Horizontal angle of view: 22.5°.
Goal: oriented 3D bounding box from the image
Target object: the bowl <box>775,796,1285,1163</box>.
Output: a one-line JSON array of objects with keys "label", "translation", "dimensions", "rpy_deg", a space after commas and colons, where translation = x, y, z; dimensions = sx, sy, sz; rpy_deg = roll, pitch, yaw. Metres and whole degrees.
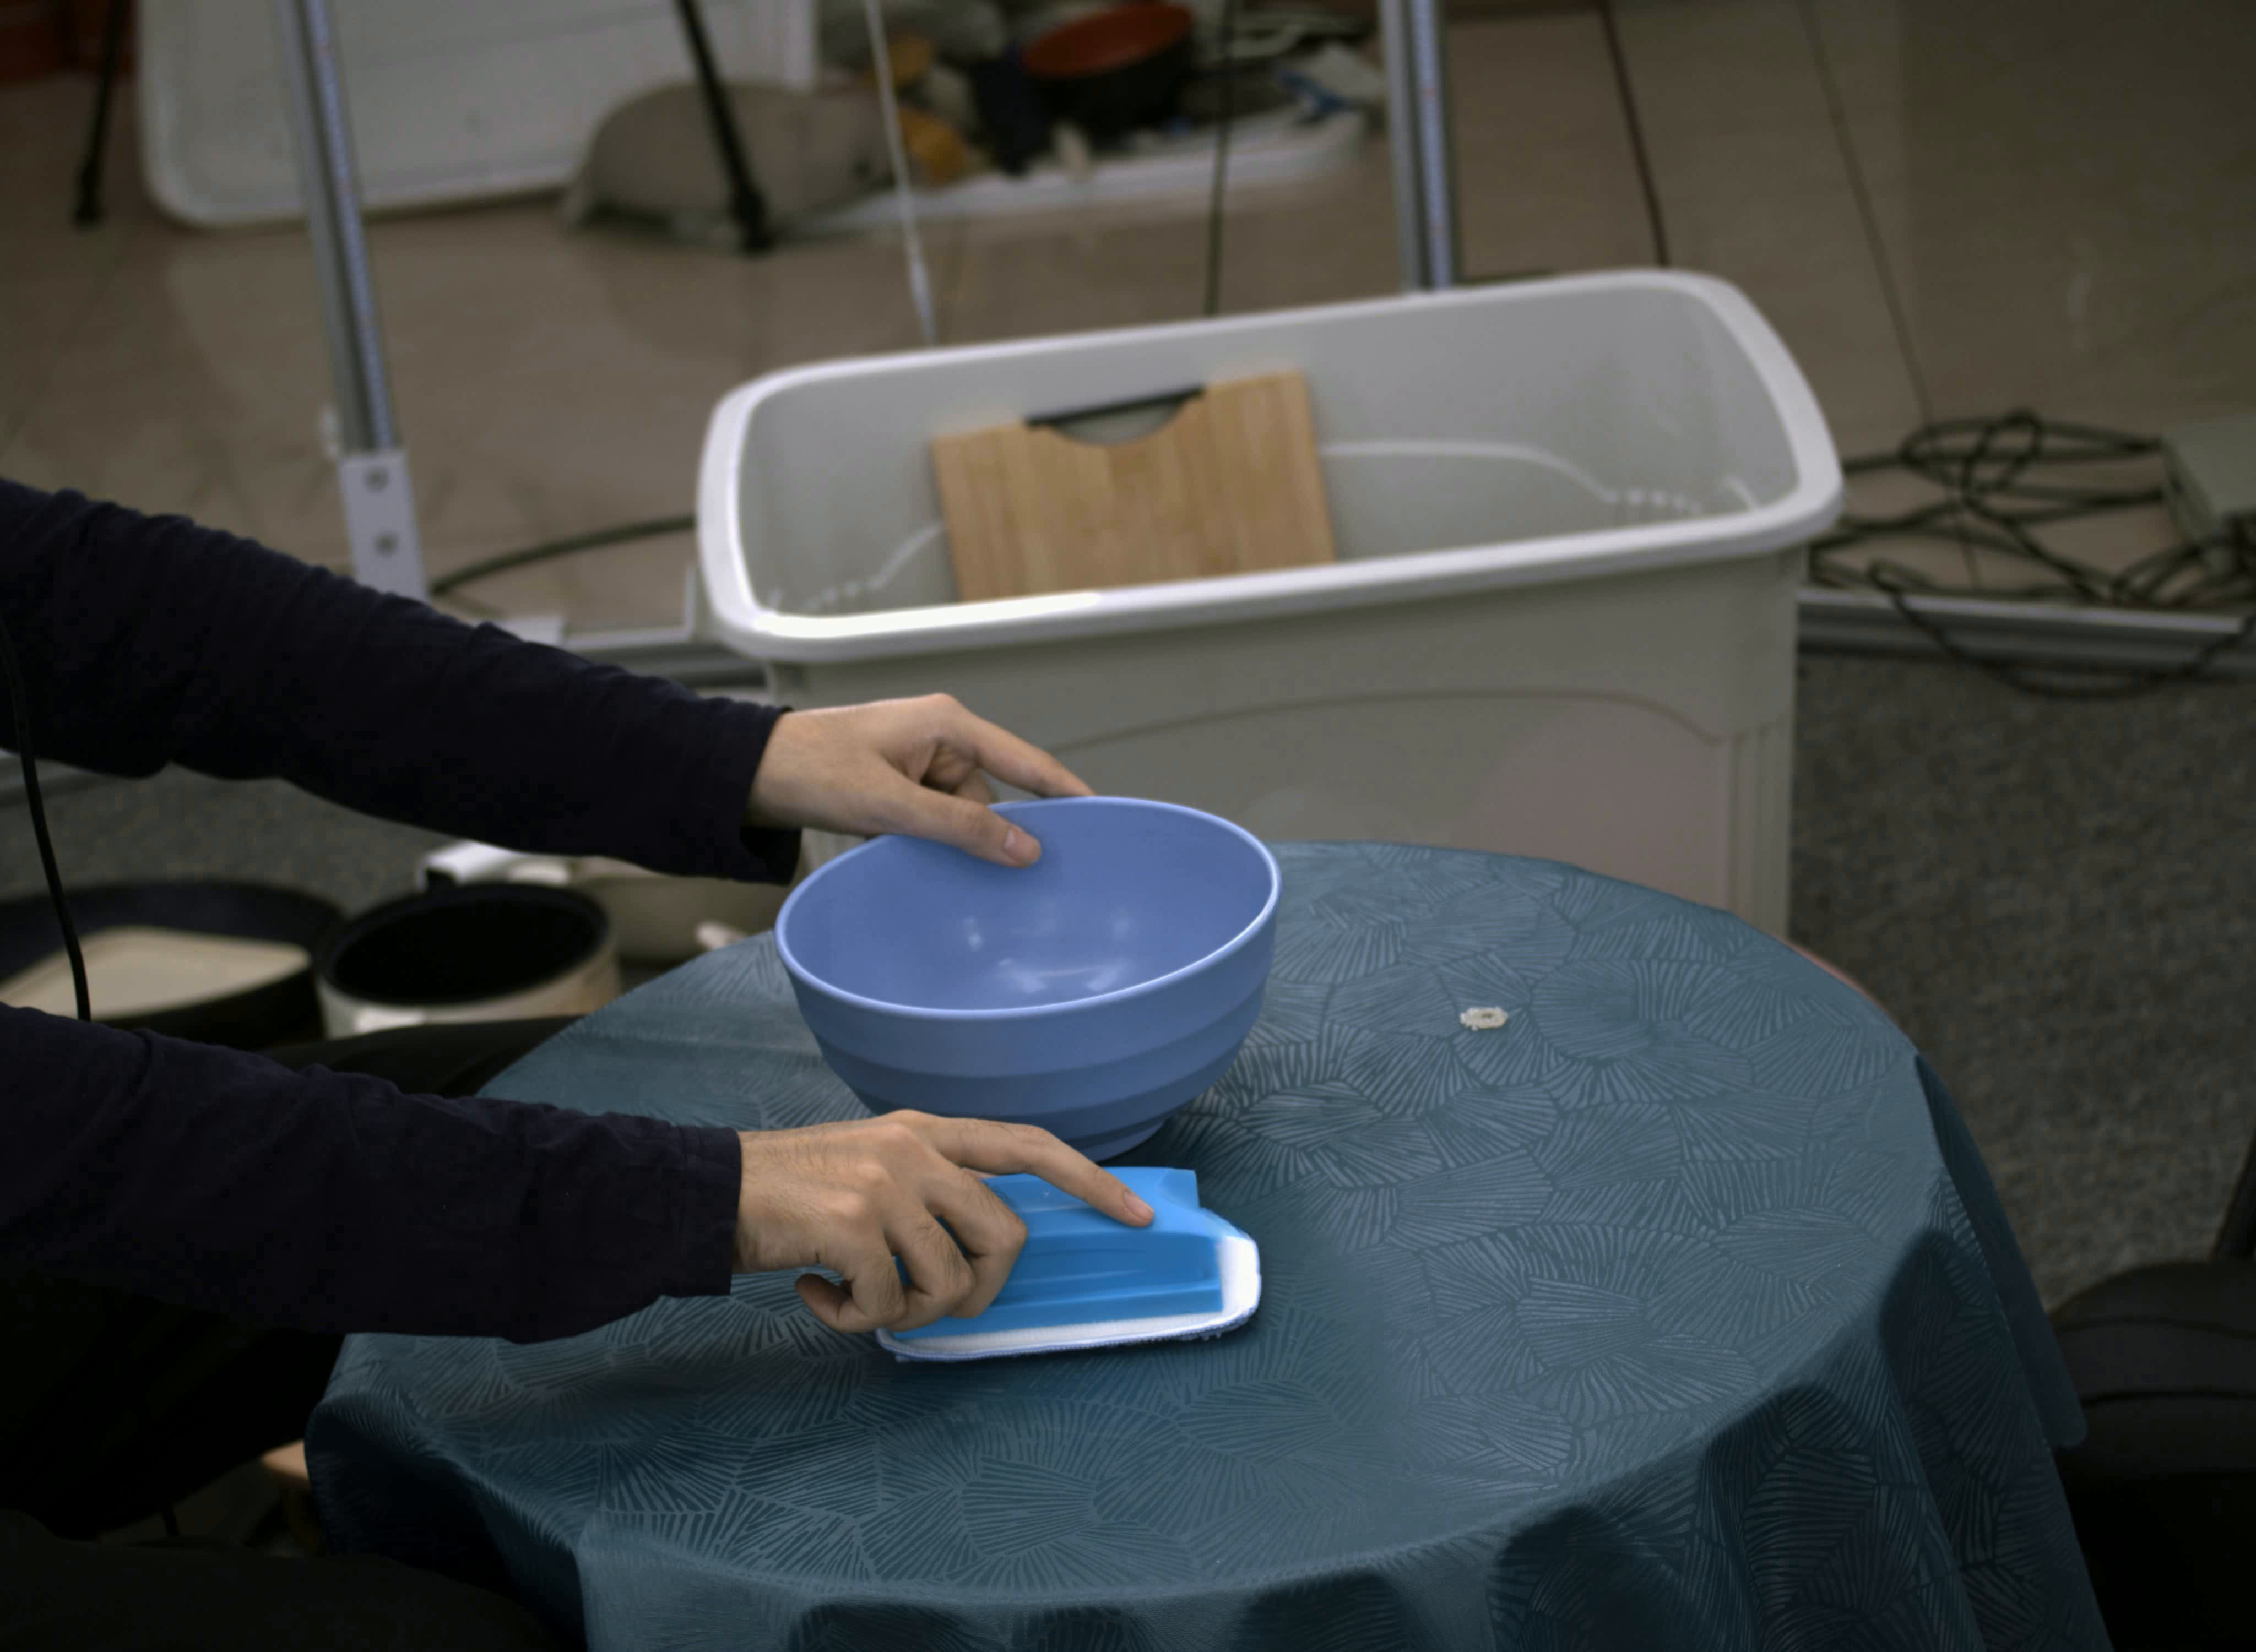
[{"label": "bowl", "translation": [-0.034, 0.070, 2.189], "dimensions": [0.196, 0.097, 0.193], "rpy_deg": [-4, 24, 2]}]

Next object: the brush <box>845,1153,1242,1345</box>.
[{"label": "brush", "translation": [-0.031, 0.150, 2.055], "dimensions": [0.144, 0.057, 0.082], "rpy_deg": [-3, 27, 2]}]
